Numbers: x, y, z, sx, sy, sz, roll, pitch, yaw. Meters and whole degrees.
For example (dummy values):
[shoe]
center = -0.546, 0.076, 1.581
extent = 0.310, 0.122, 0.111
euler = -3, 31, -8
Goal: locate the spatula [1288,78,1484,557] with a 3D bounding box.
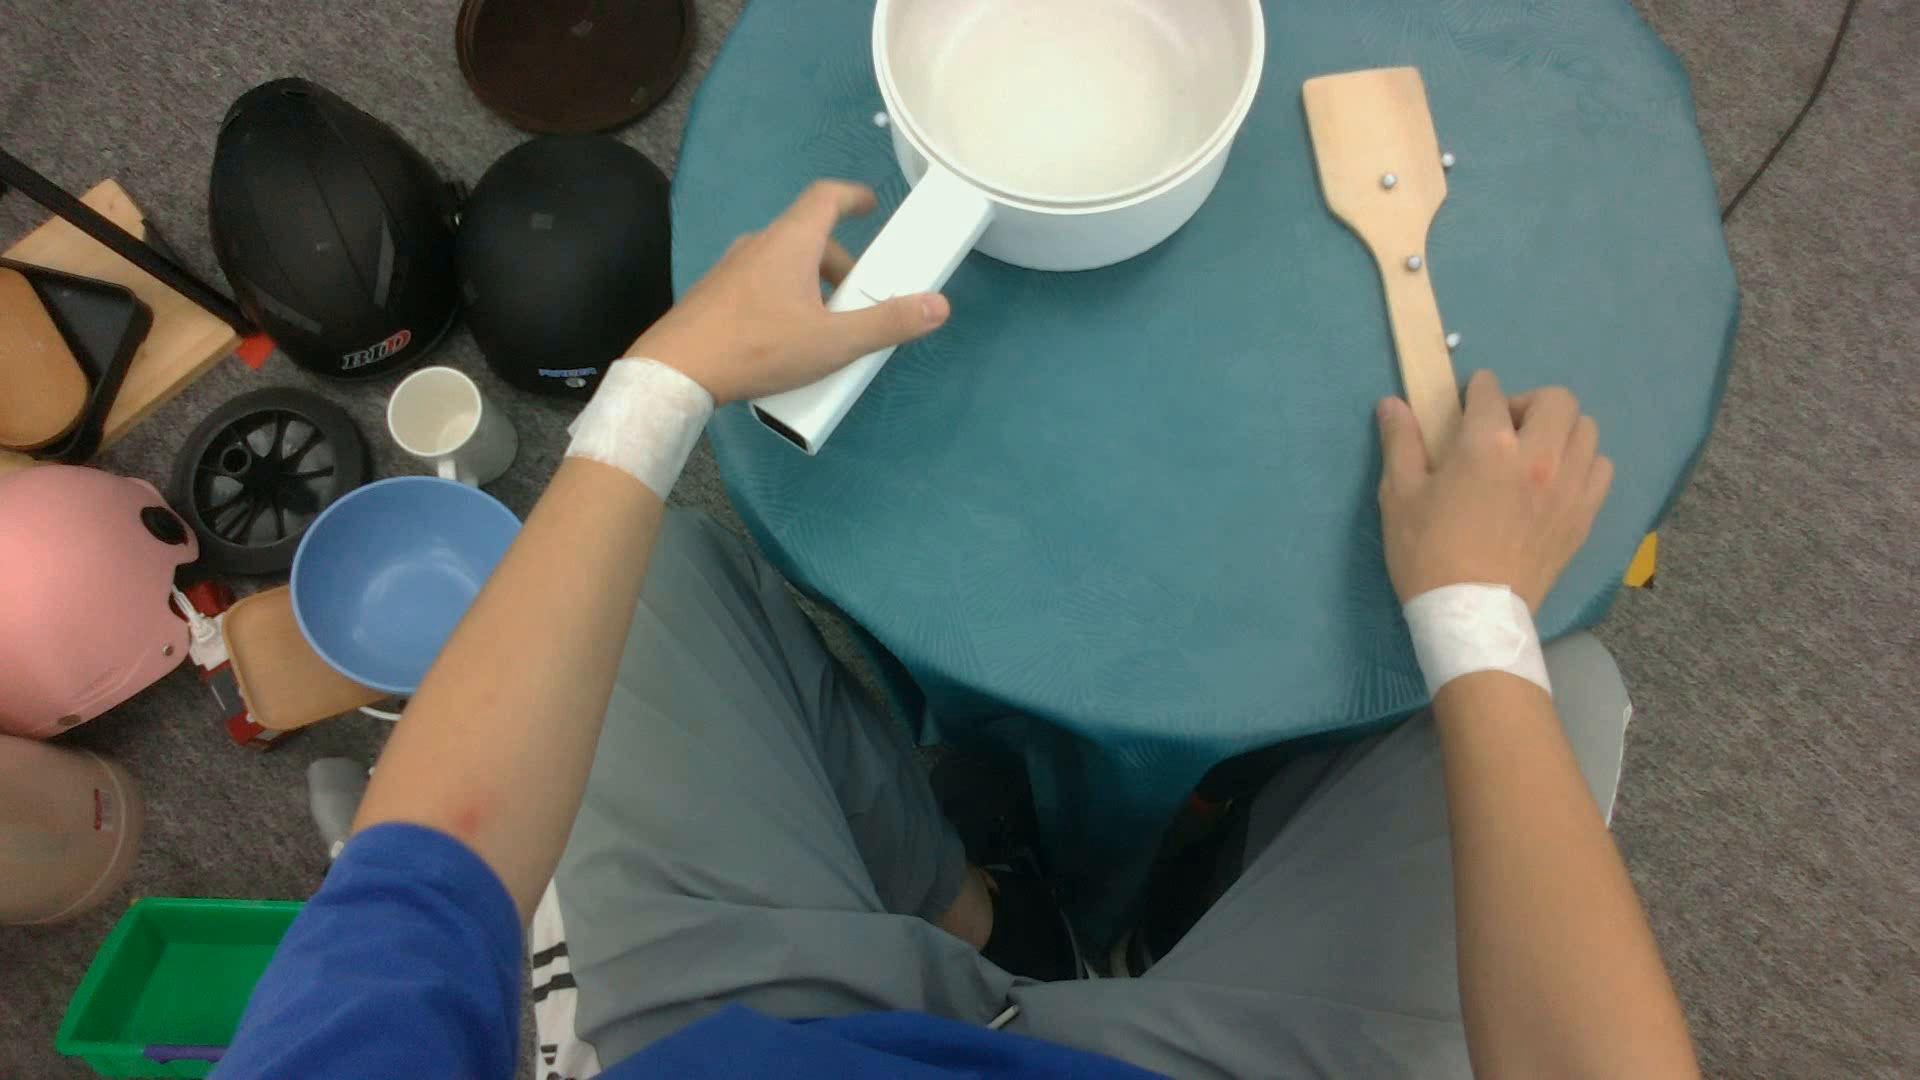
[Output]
[spatula]
center = 0.249, -0.130, 0.778
extent = 0.072, 0.010, 0.293
euler = -8, 74, -1

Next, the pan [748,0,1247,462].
[pan]
center = 0.010, -0.184, 0.755
extent = 0.201, 0.102, 0.355
euler = 32, 77, 8
